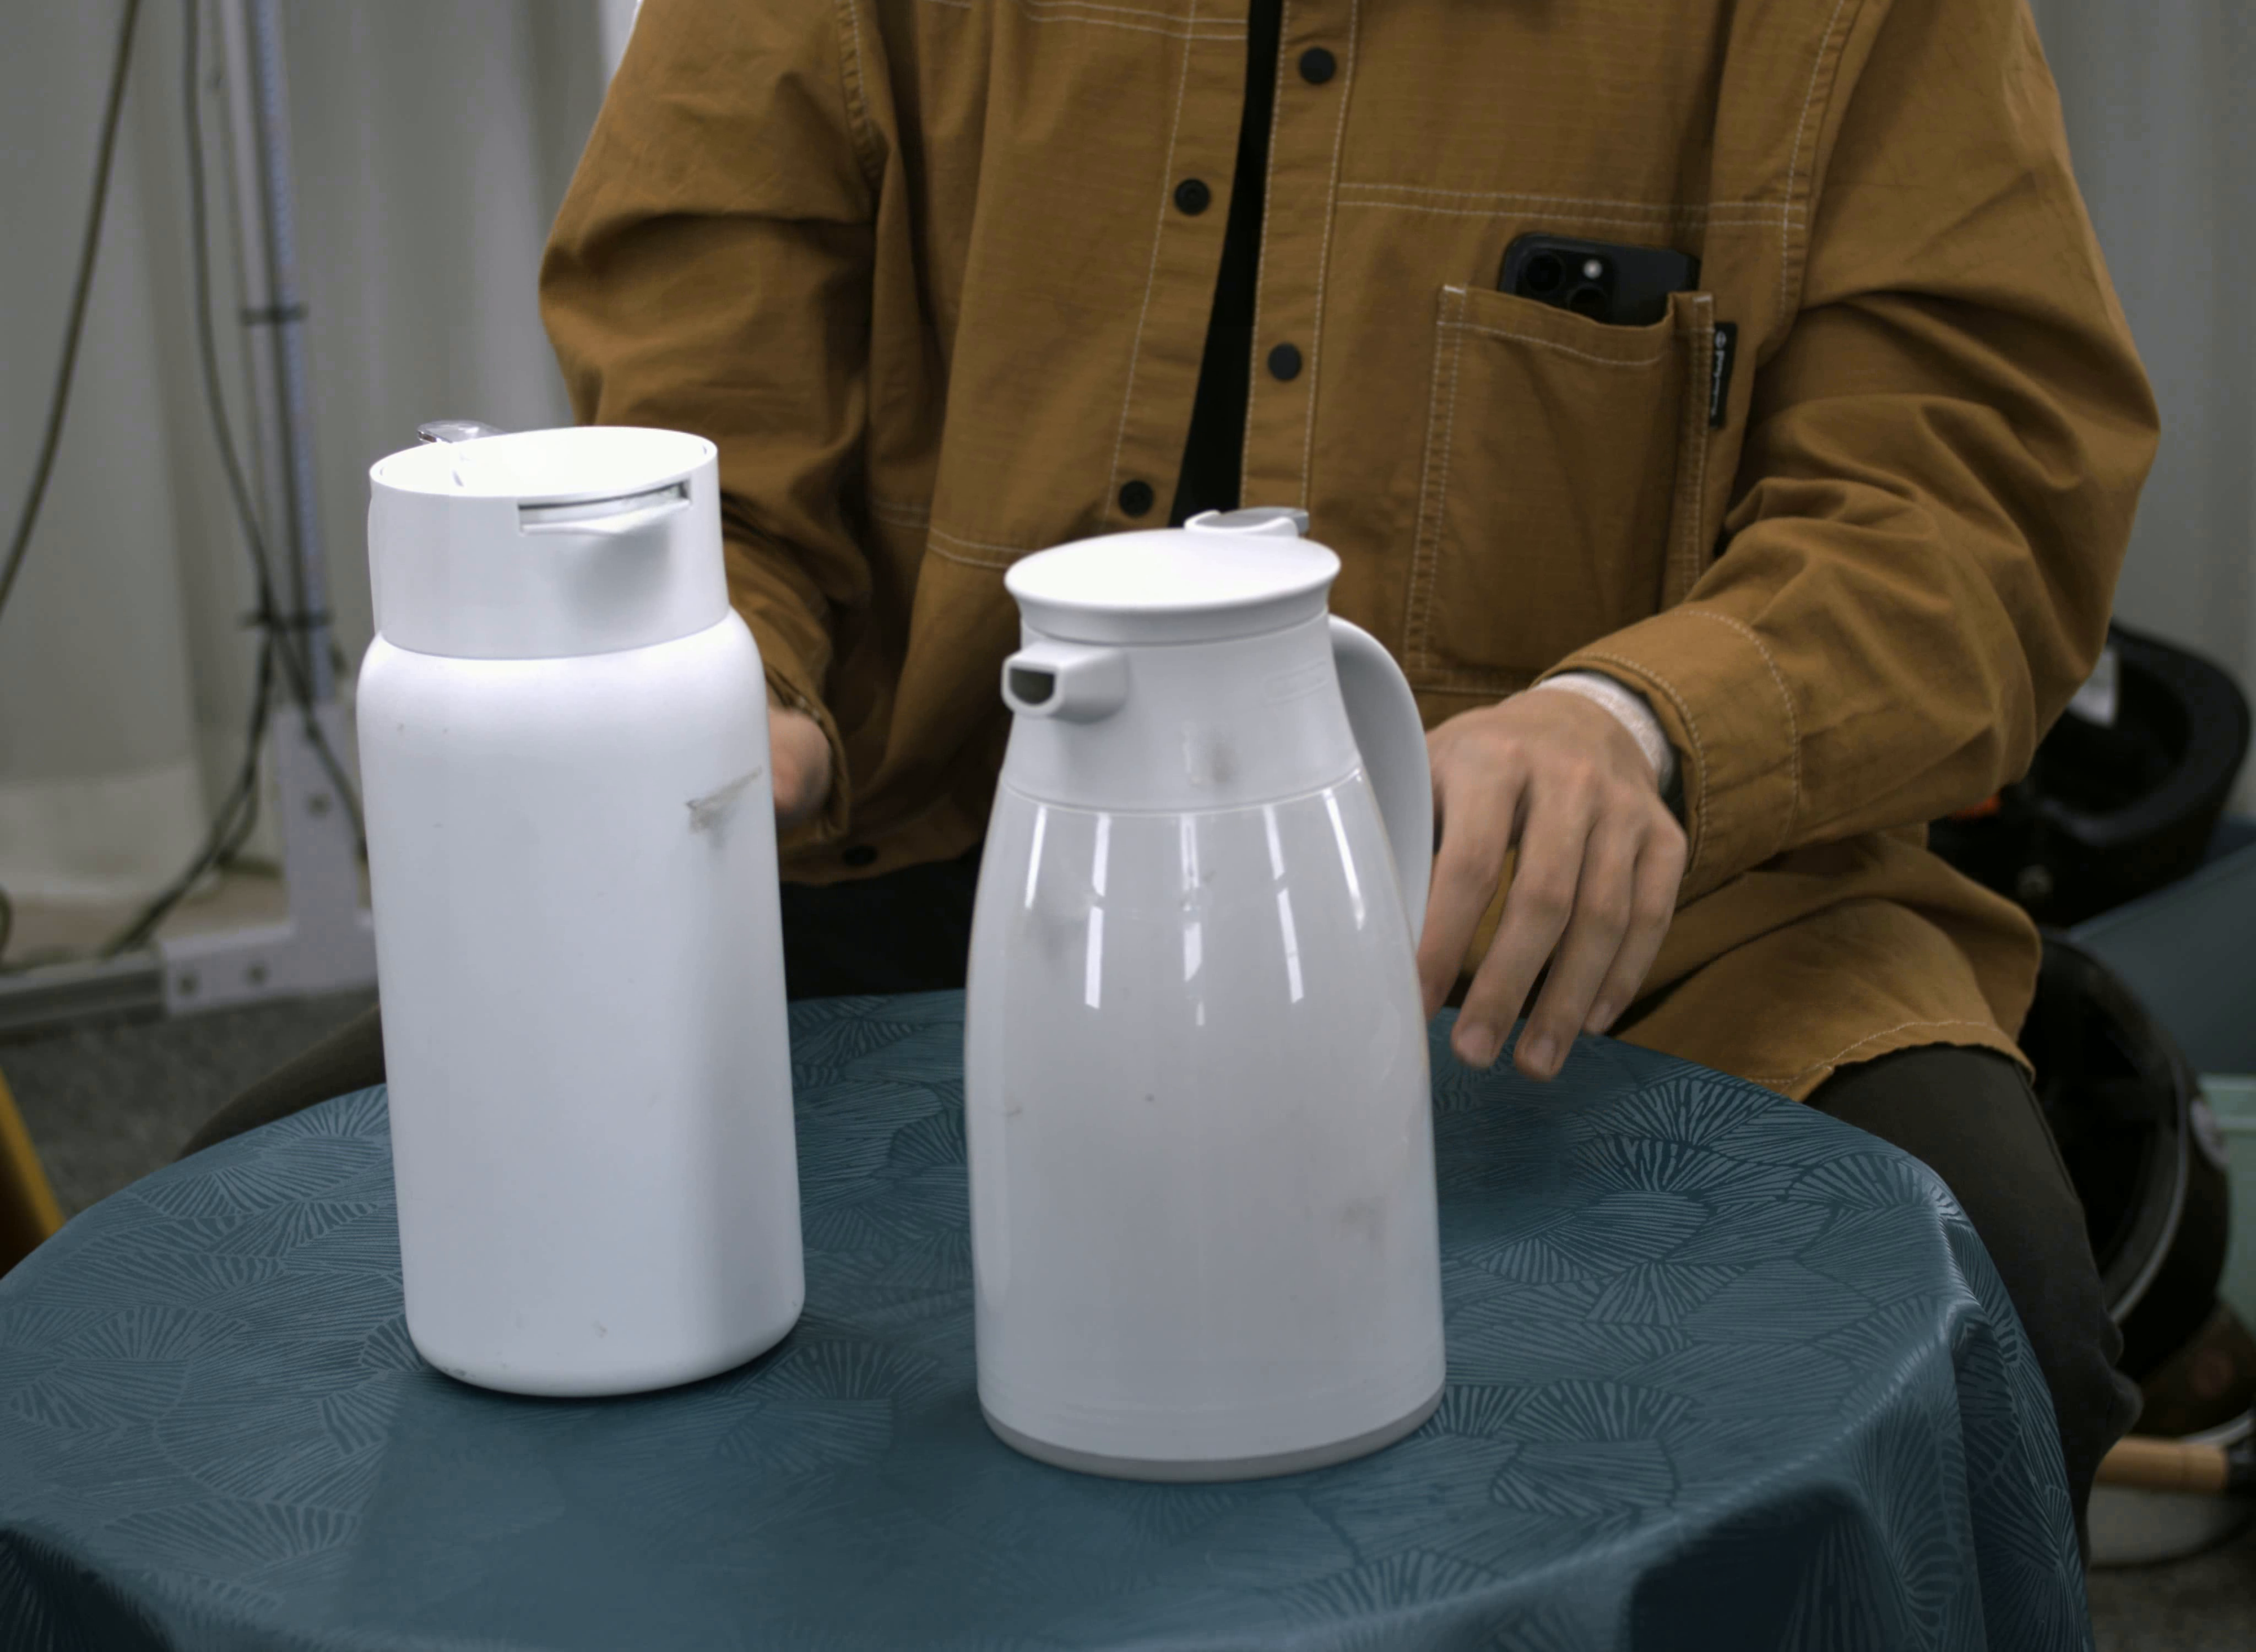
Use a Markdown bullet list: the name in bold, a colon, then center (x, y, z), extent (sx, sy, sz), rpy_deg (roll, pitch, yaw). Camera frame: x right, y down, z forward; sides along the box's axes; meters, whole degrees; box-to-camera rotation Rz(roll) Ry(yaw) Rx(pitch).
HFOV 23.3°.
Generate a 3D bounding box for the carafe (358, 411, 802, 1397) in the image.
- **carafe**: center (-0.169, 0.019, 1.590), extent (0.123, 0.268, 0.174), rpy_deg (-13, 16, -29)

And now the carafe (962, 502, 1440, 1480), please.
- **carafe**: center (0.028, 0.037, 1.523), extent (0.133, 0.248, 0.167), rpy_deg (8, 16, 37)
